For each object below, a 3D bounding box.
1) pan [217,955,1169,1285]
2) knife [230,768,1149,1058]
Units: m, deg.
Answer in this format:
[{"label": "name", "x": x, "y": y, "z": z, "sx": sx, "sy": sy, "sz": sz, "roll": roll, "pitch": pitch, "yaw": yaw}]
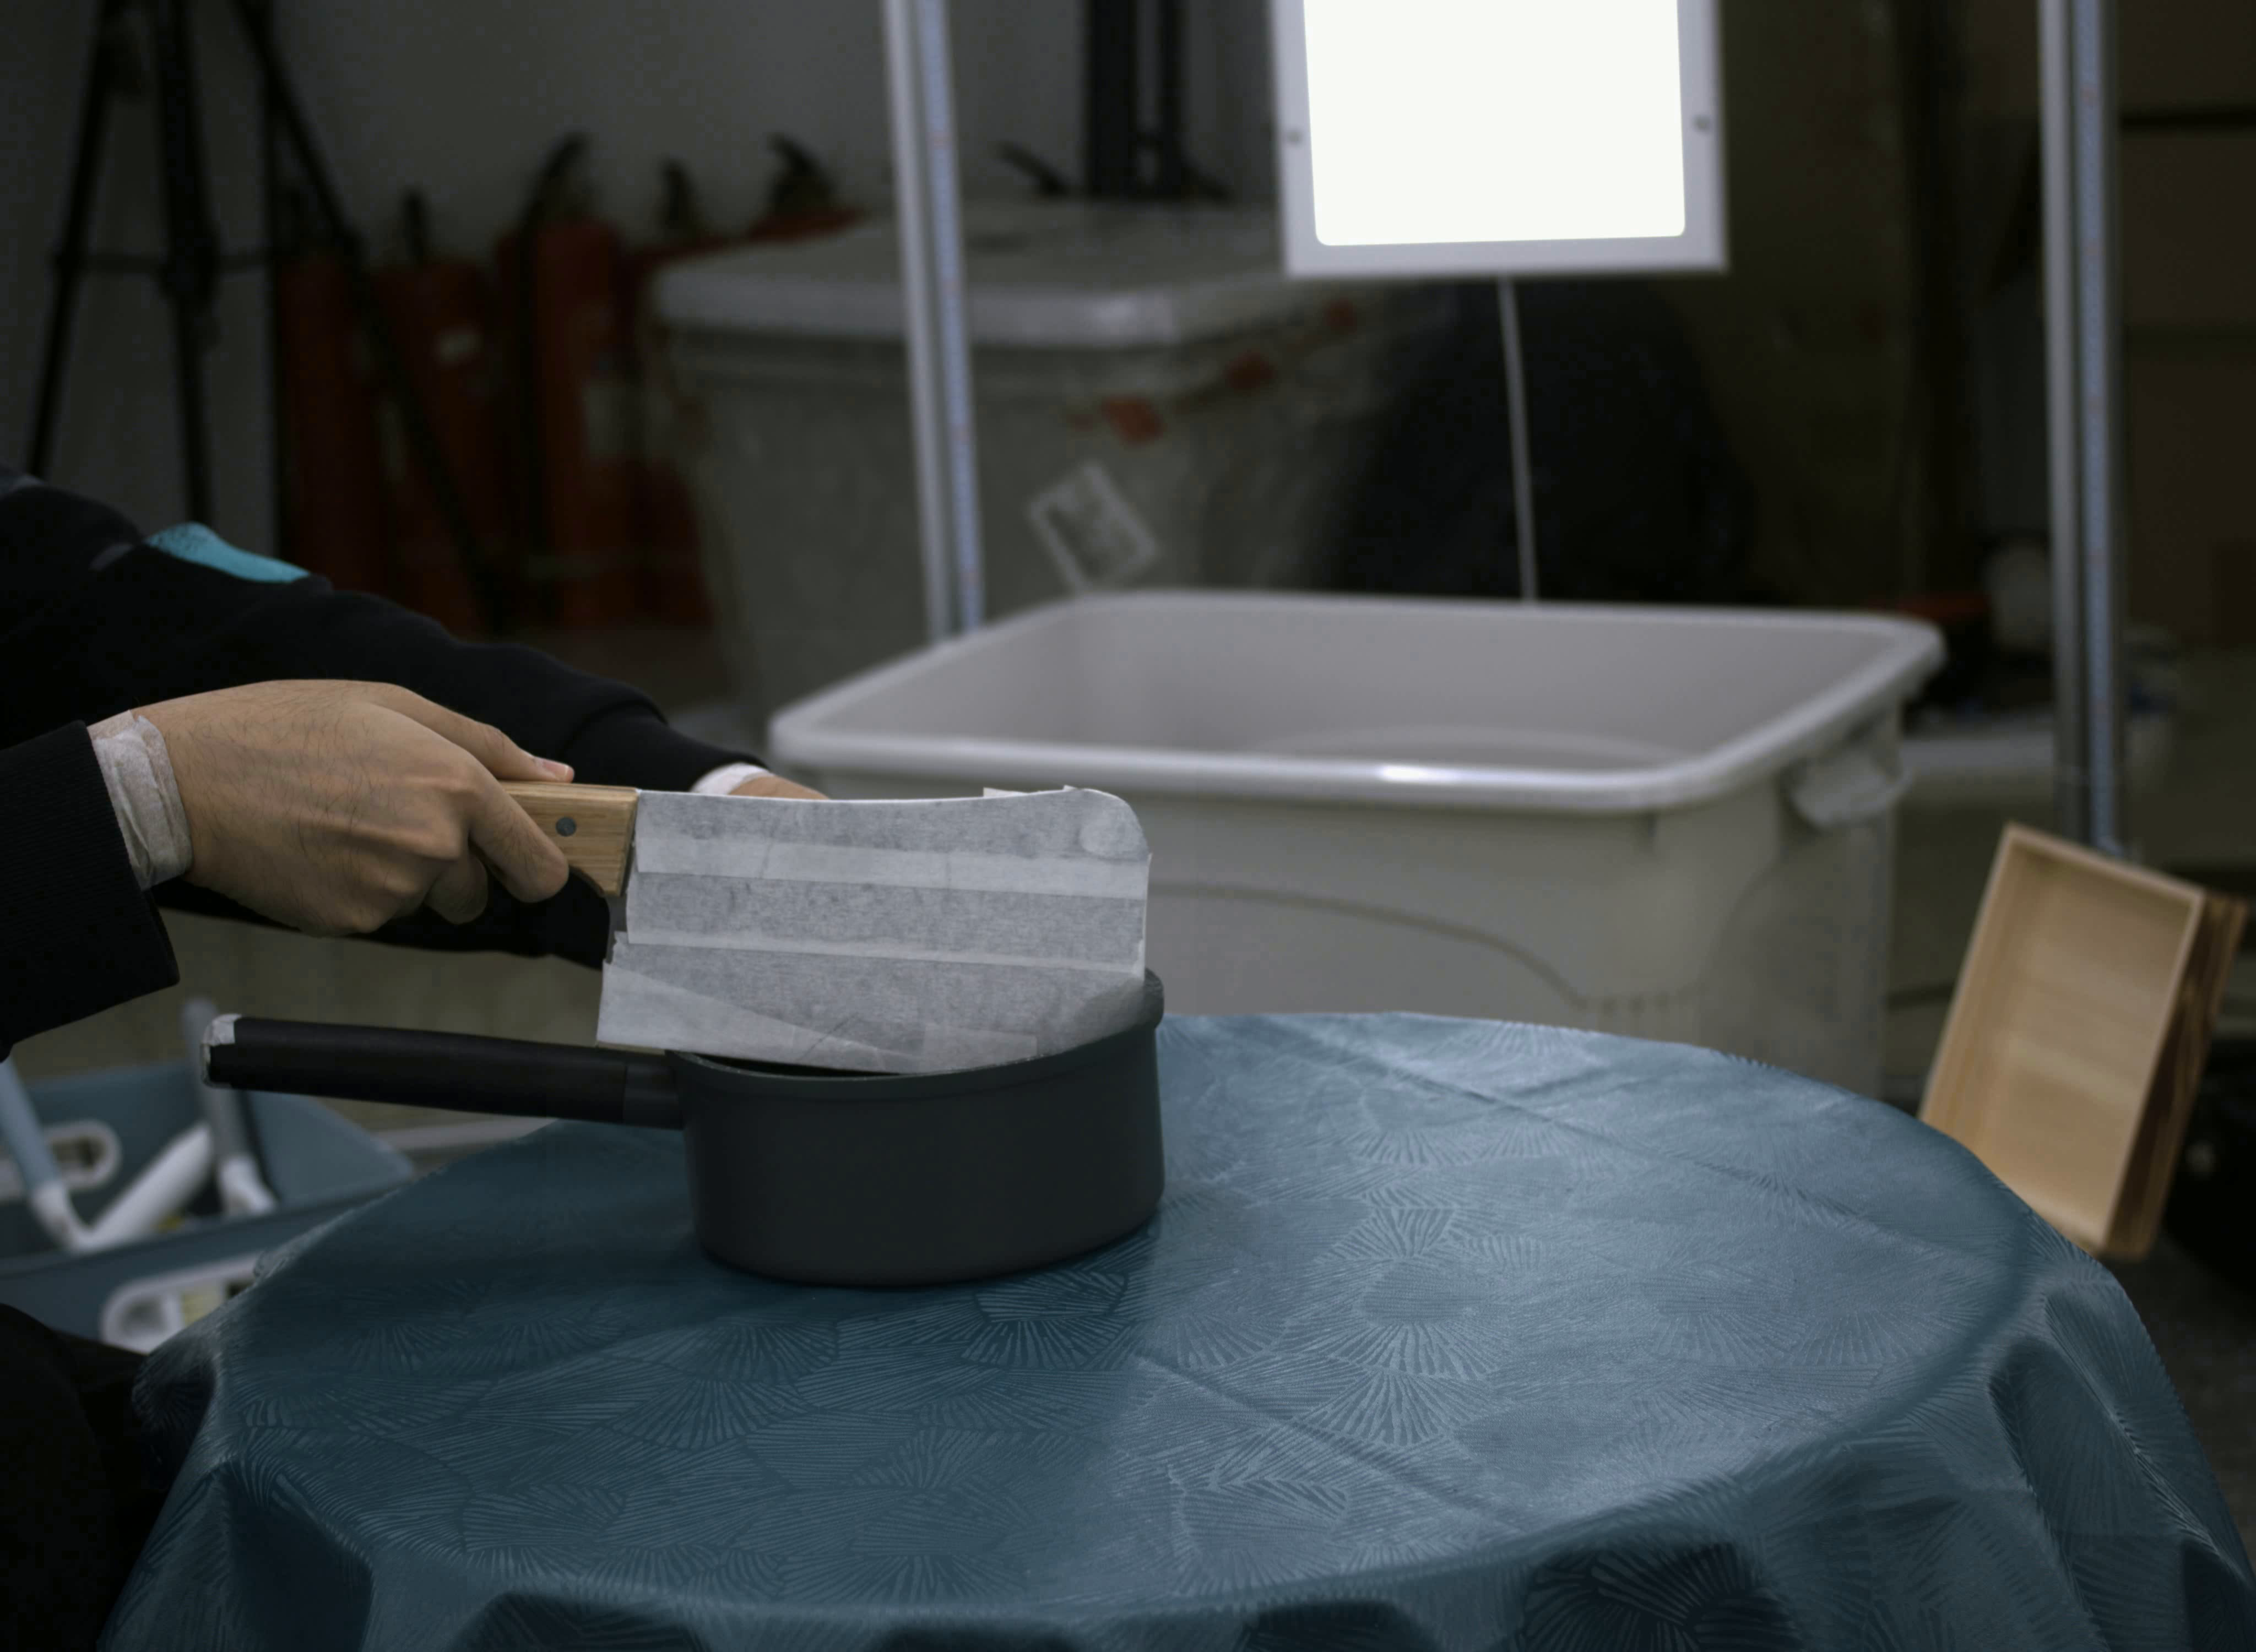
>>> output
[{"label": "pan", "x": -0.148, "y": 0.099, "z": 1.888, "sx": 0.330, "sy": 0.087, "sz": 0.171, "roll": -3, "pitch": 12, "yaw": 7}, {"label": "knife", "x": -0.141, "y": 0.022, "z": 1.834, "sx": 0.312, "sy": 0.114, "sz": 0.022, "roll": 8, "pitch": 8, "yaw": -7}]
